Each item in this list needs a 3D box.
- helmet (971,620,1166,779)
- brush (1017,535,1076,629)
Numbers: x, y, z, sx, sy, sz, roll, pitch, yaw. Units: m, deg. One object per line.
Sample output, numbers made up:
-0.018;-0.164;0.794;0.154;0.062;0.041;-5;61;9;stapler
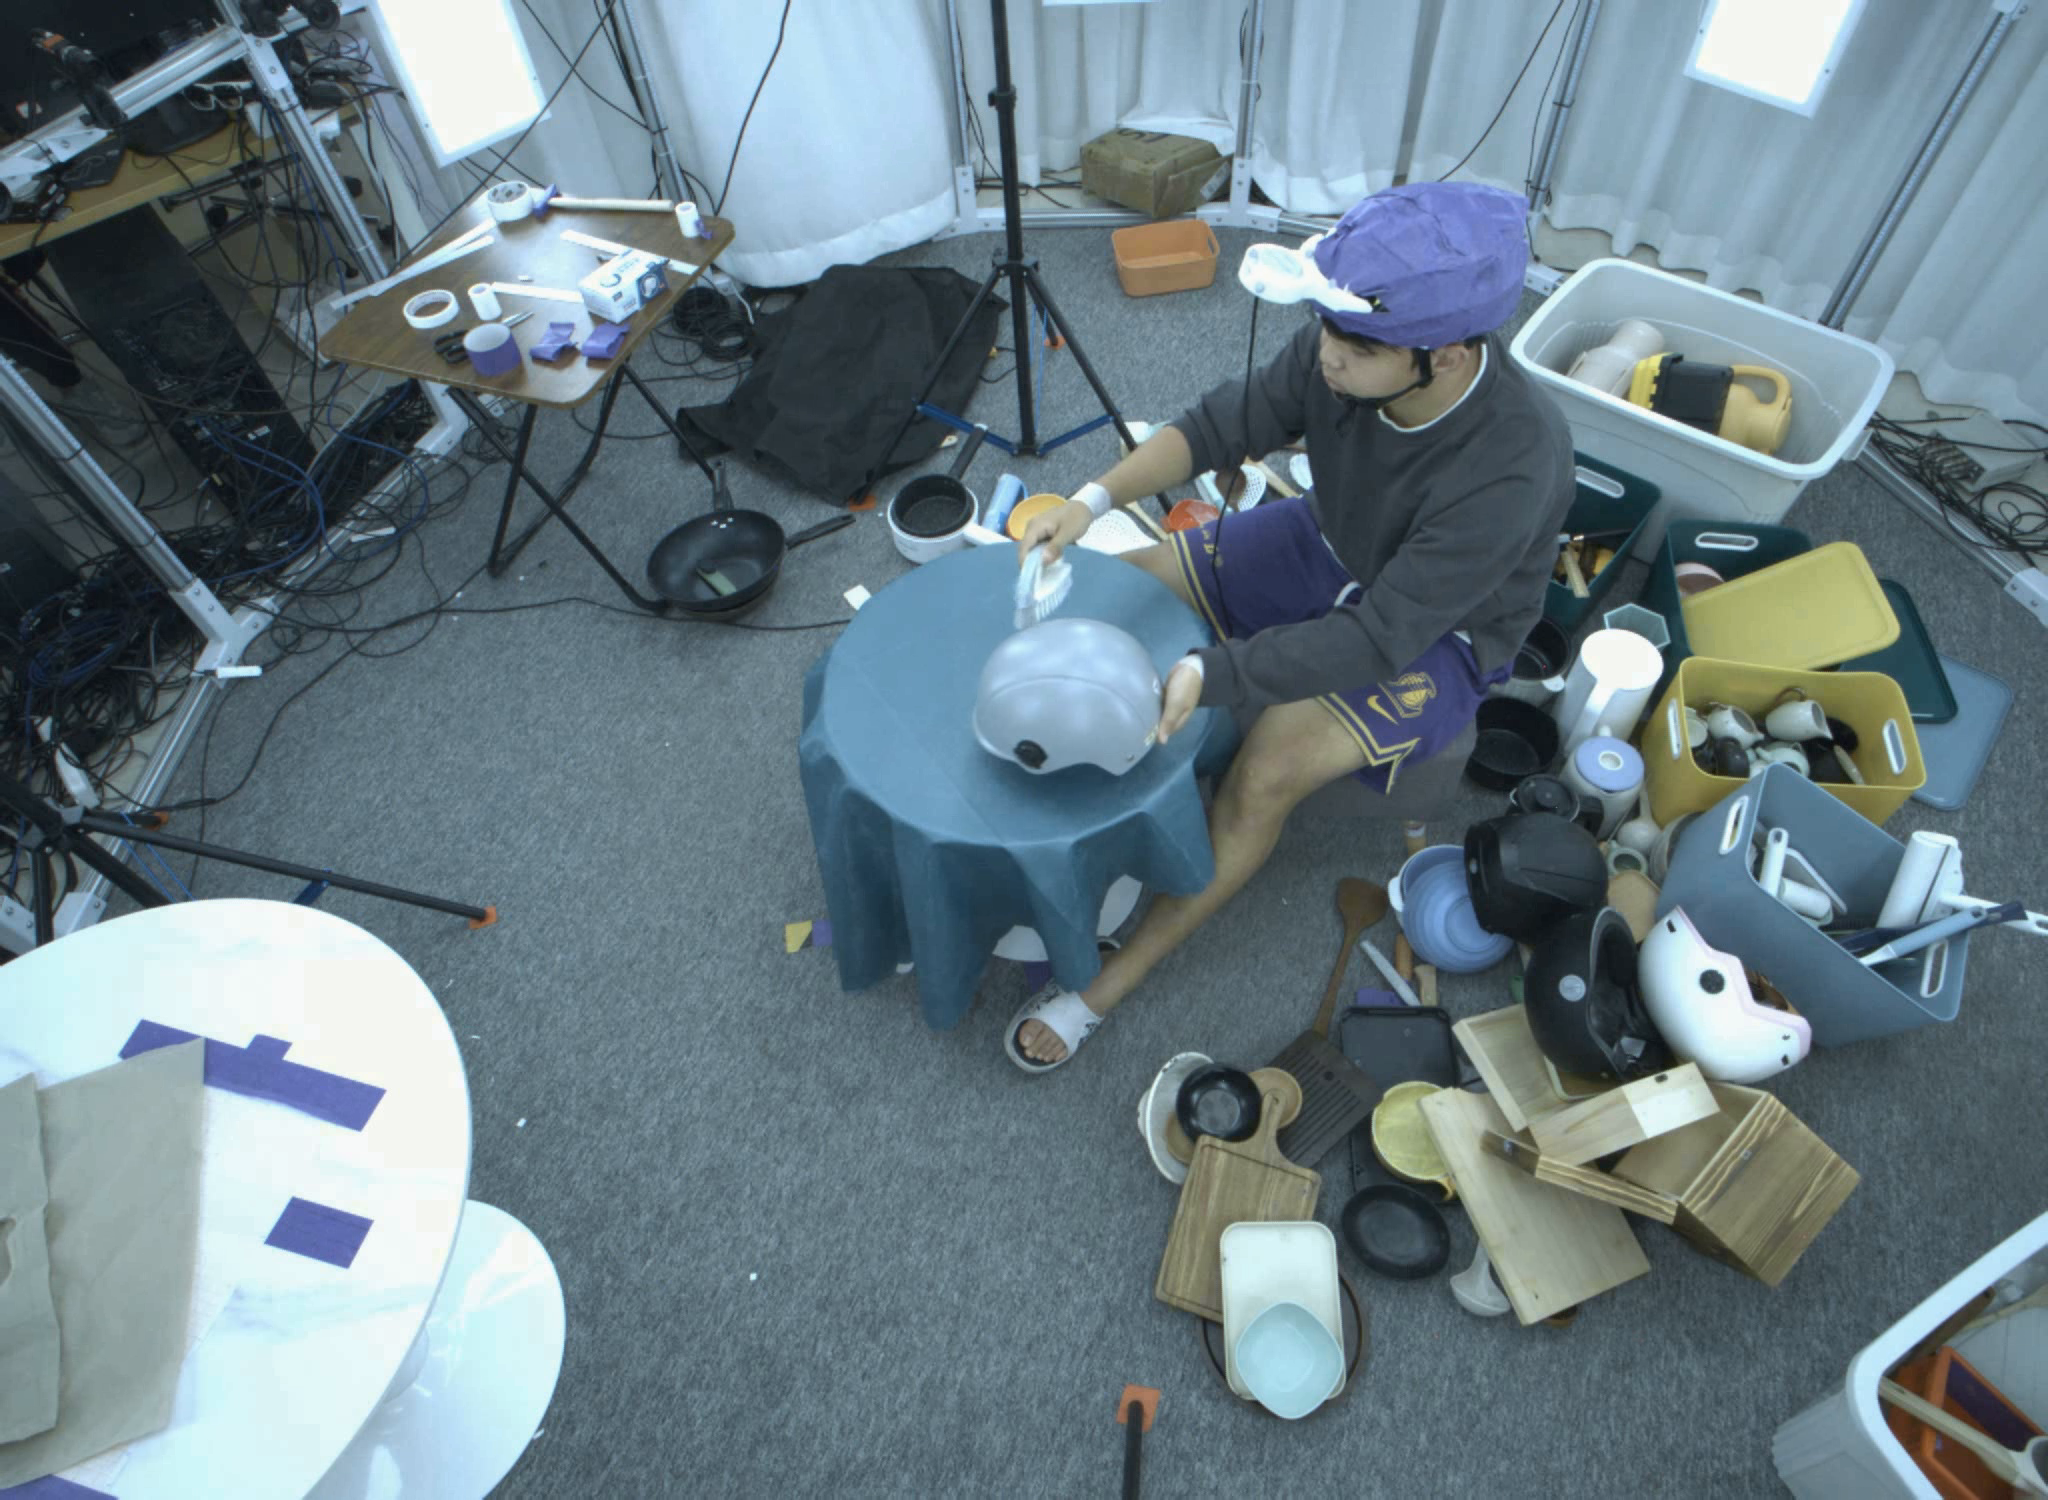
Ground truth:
0.058;-0.091;1.690;0.274;0.170;0.231;8;48;9;helmet
0.023;-0.245;1.745;0.060;0.095;0.176;4;33;20;brush
